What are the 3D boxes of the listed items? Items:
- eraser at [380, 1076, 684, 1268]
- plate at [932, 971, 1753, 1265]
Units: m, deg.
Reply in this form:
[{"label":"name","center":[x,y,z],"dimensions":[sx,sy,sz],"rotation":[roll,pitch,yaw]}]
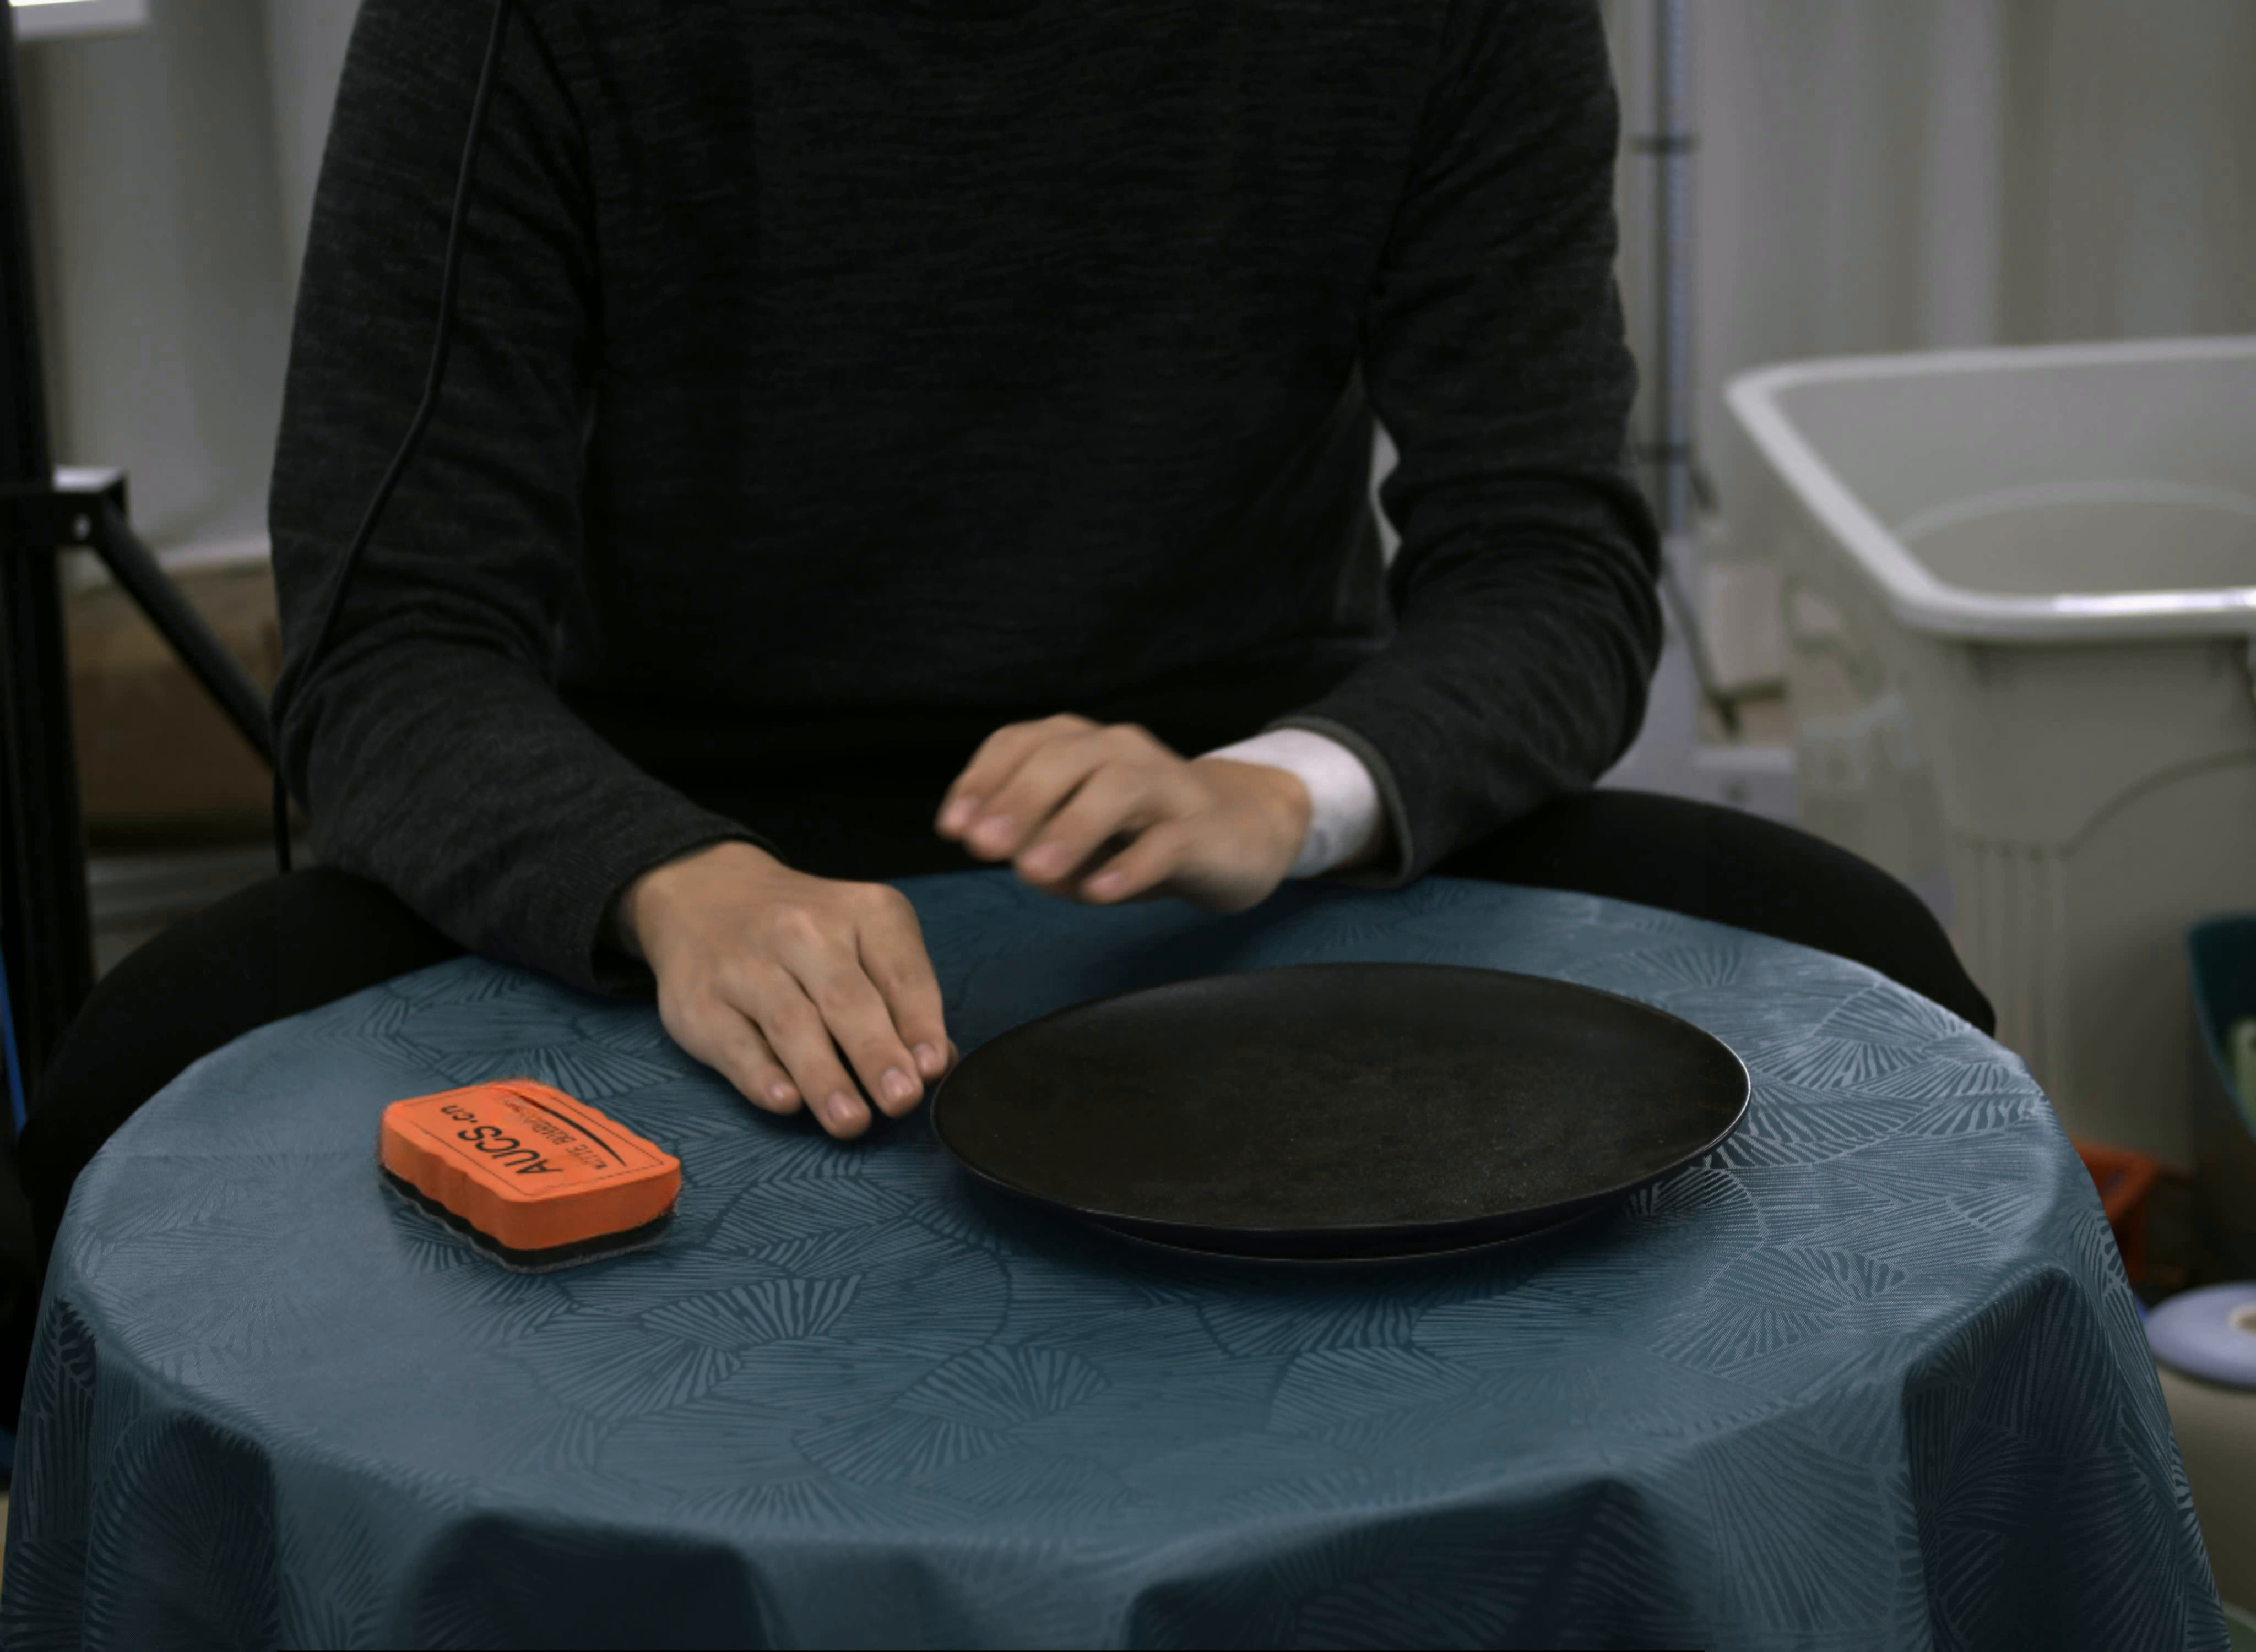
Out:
[{"label":"eraser","center":[-0.176,0.101,1.567],"dimensions":[0.057,0.023,0.110],"rotation":[-9,17,-28]},{"label":"plate","center":[0.064,0.088,1.574],"dimensions":[0.243,0.023,0.245],"rotation":[-3,16,-1]}]
